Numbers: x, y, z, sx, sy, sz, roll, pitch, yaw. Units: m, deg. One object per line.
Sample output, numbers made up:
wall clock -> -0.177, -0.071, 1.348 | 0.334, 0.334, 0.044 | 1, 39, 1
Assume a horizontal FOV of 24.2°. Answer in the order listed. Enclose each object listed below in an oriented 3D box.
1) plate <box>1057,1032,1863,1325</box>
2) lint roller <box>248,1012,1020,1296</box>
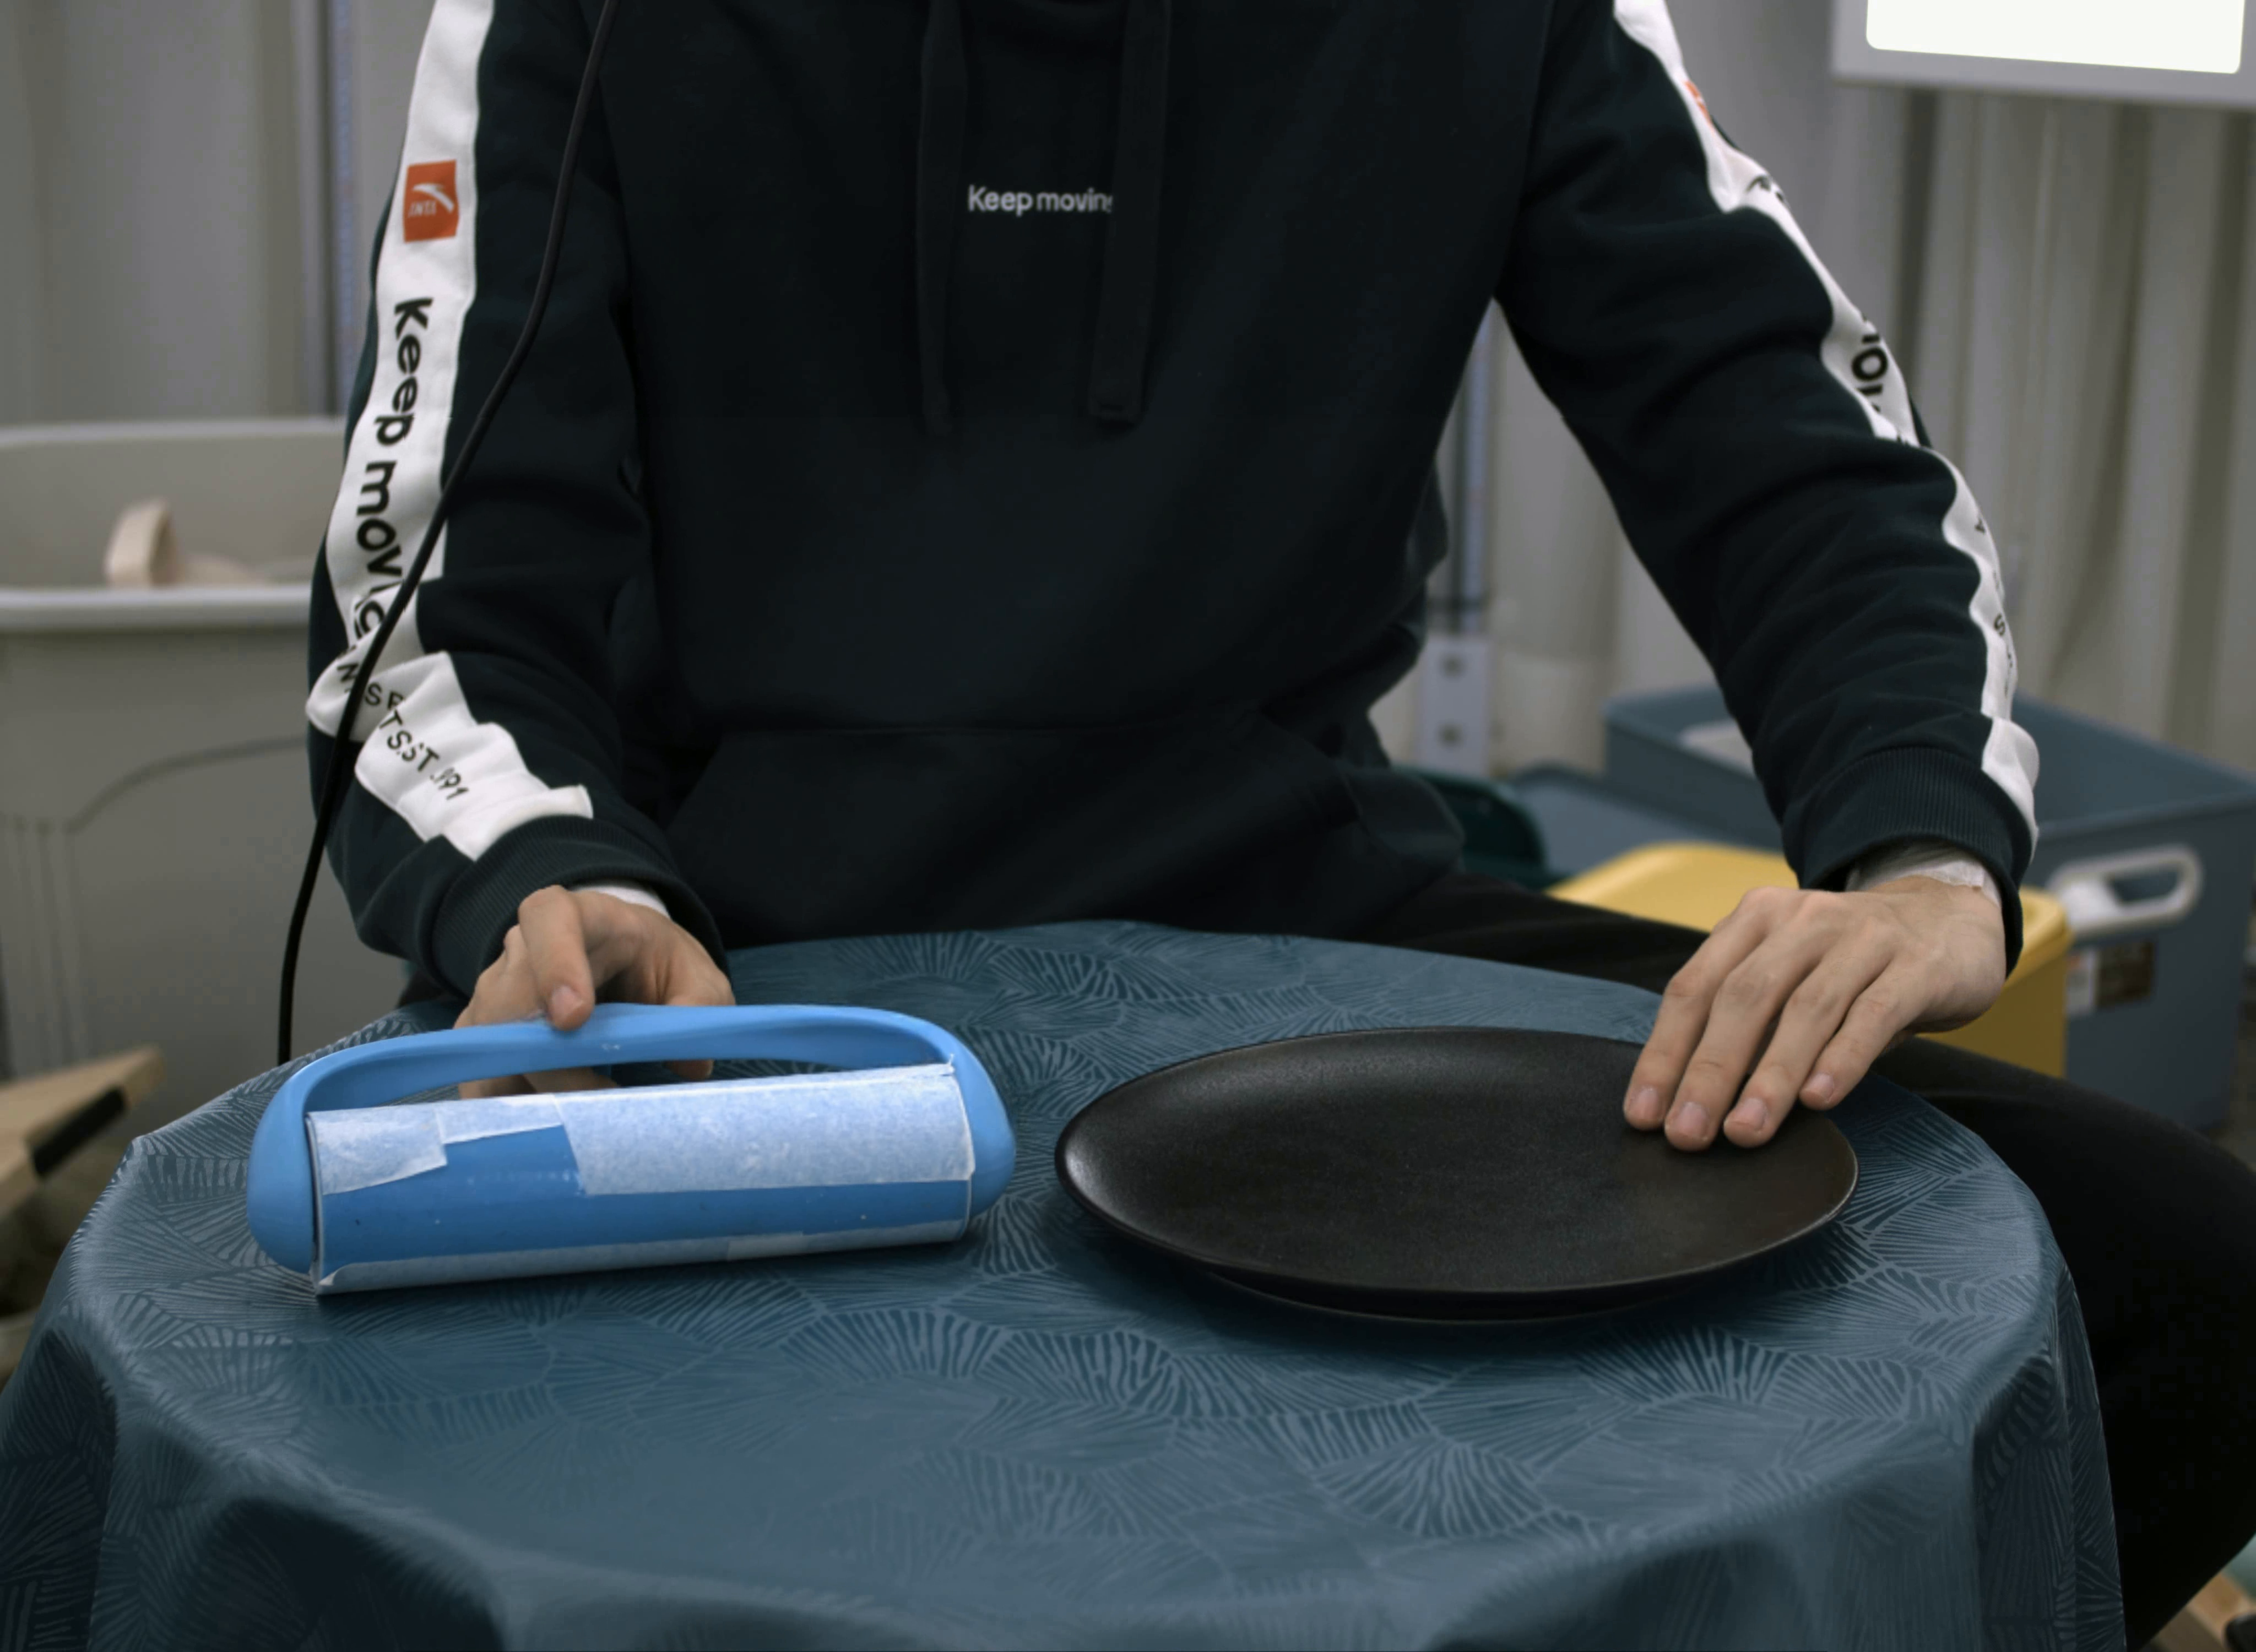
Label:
plate -> 0.100, 0.108, 1.594 | 0.243, 0.023, 0.243 | 1, 15, 0
lint roller -> -0.161, 0.088, 1.599 | 0.229, 0.068, 0.178 | -5, 16, -17
